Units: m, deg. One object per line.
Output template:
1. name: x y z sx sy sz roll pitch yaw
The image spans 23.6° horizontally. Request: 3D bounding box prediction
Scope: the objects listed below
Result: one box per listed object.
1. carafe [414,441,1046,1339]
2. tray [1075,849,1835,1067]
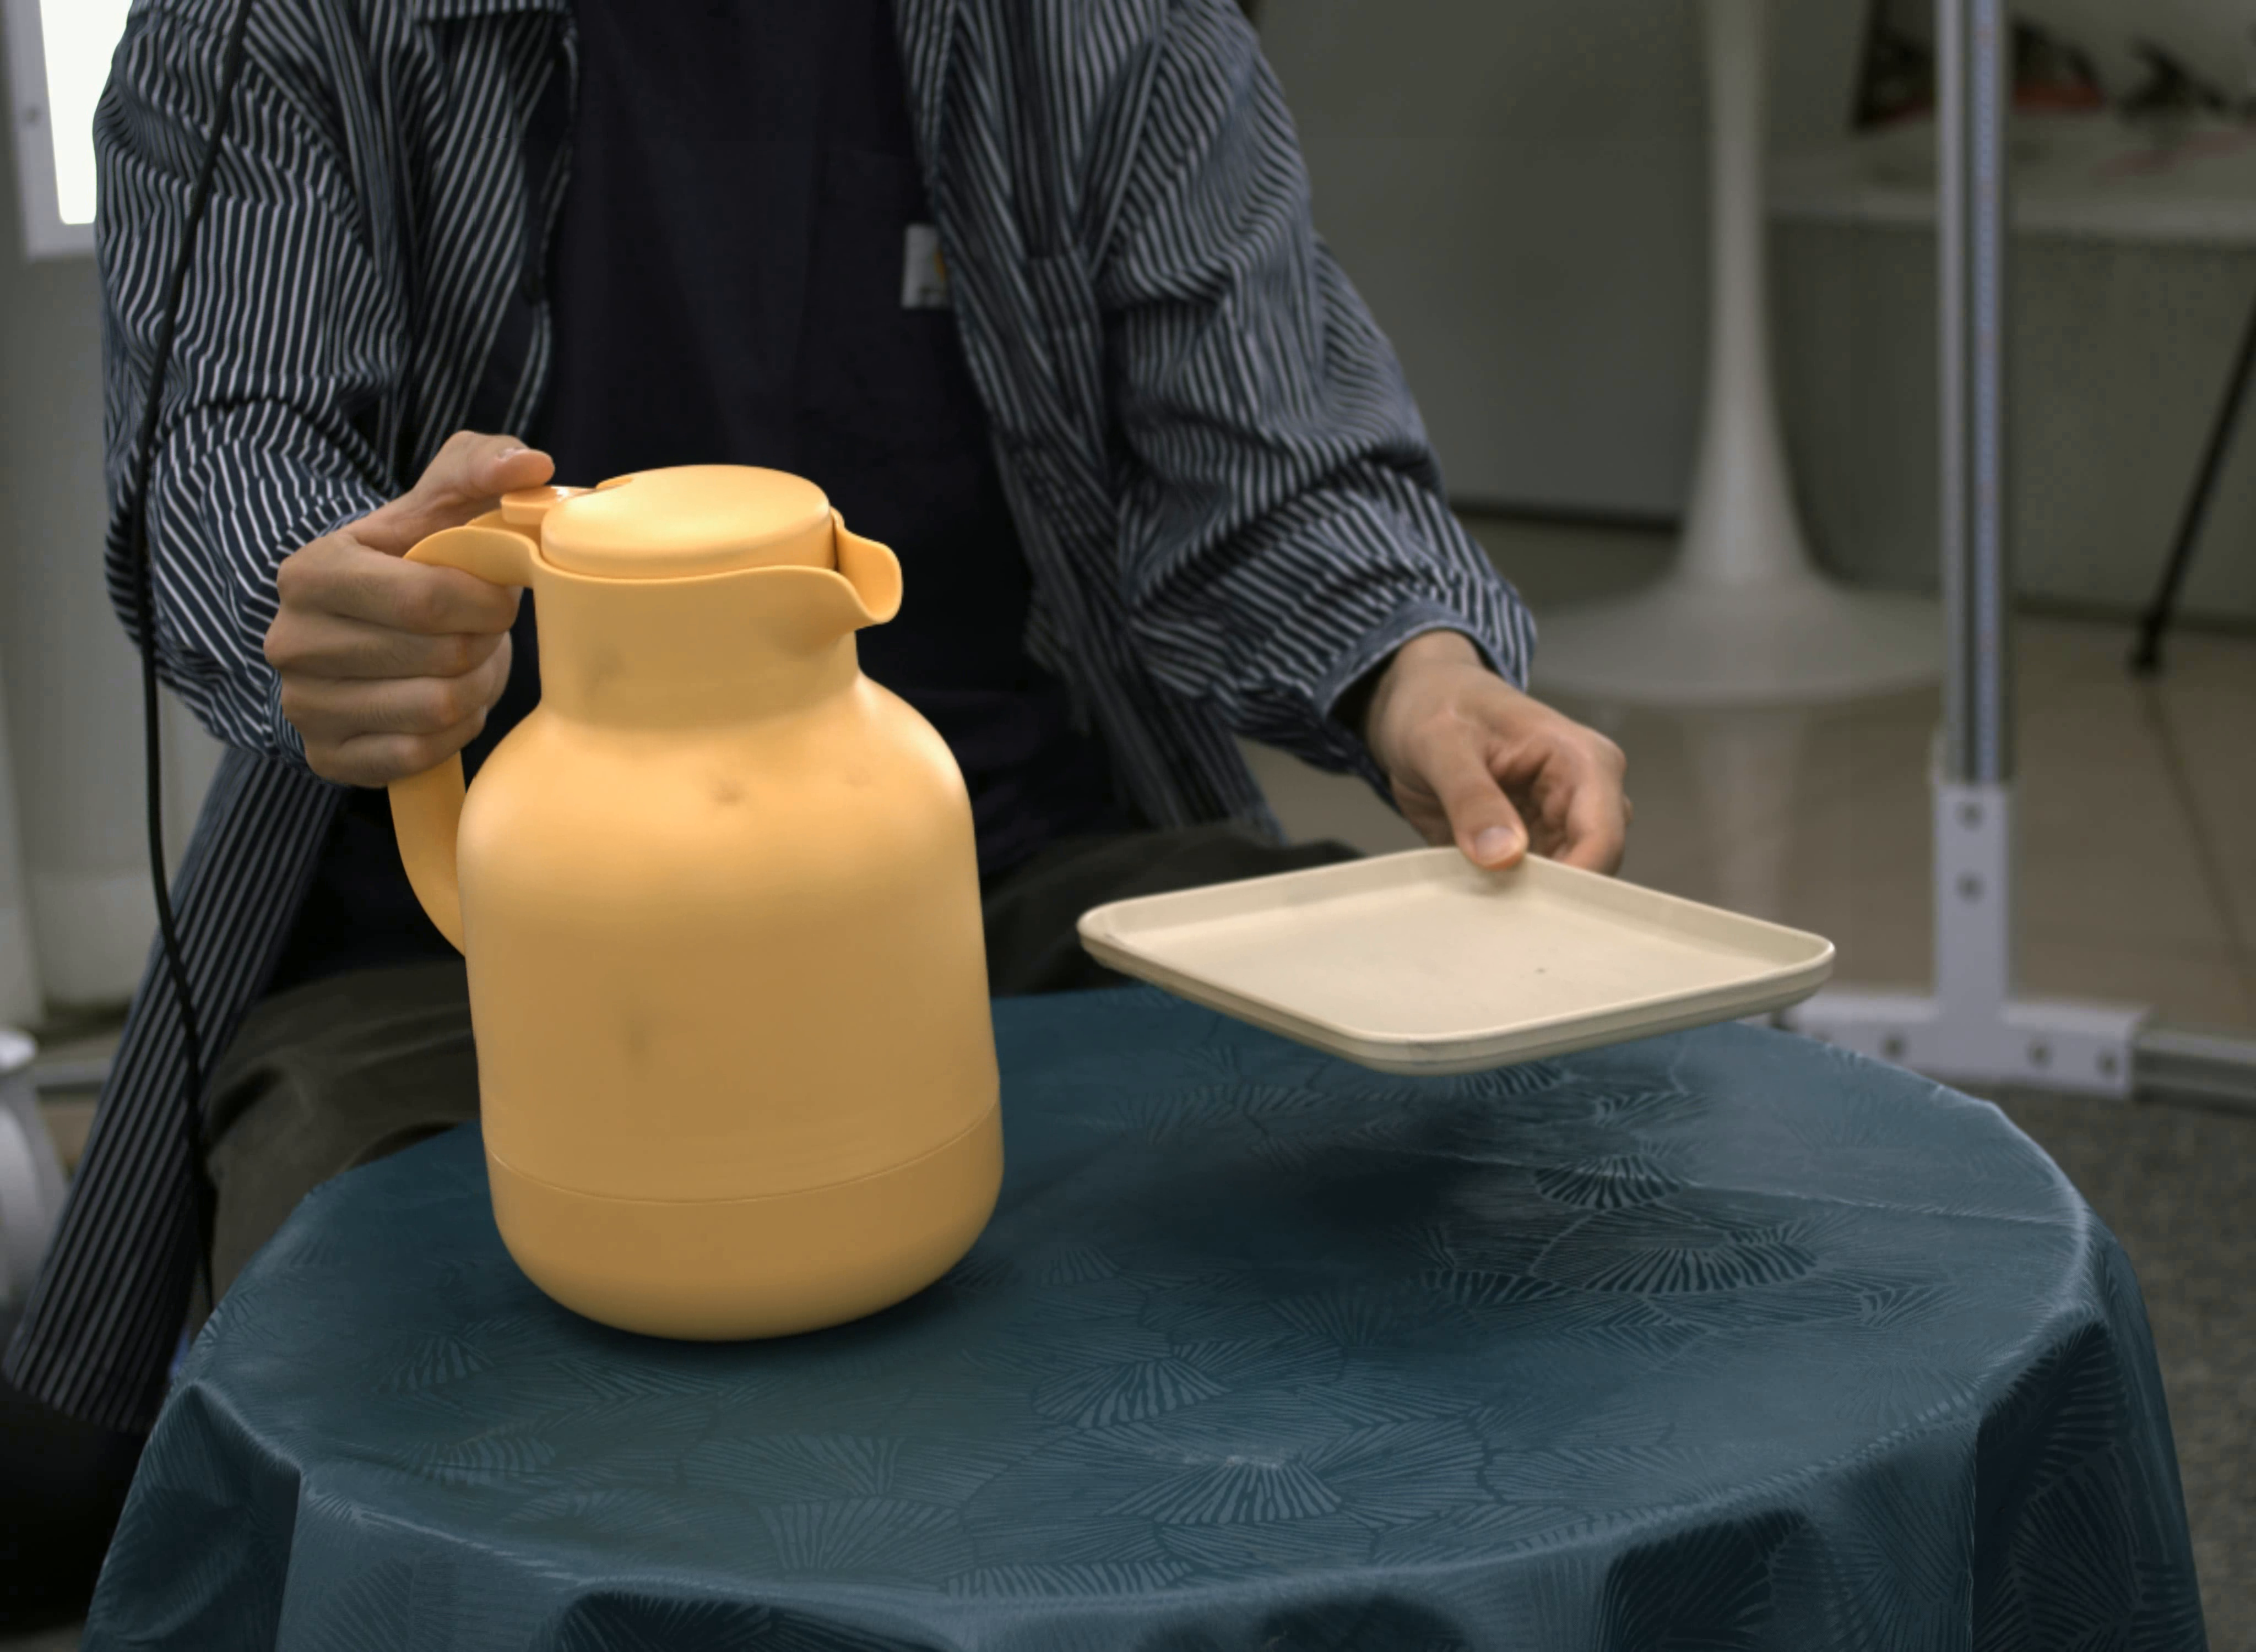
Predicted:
1. carafe: -0.127 0.013 1.675 0.203 0.263 0.161 7 20 31
2. tray: 0.100 0.041 1.708 0.167 0.018 0.242 -9 11 -25
